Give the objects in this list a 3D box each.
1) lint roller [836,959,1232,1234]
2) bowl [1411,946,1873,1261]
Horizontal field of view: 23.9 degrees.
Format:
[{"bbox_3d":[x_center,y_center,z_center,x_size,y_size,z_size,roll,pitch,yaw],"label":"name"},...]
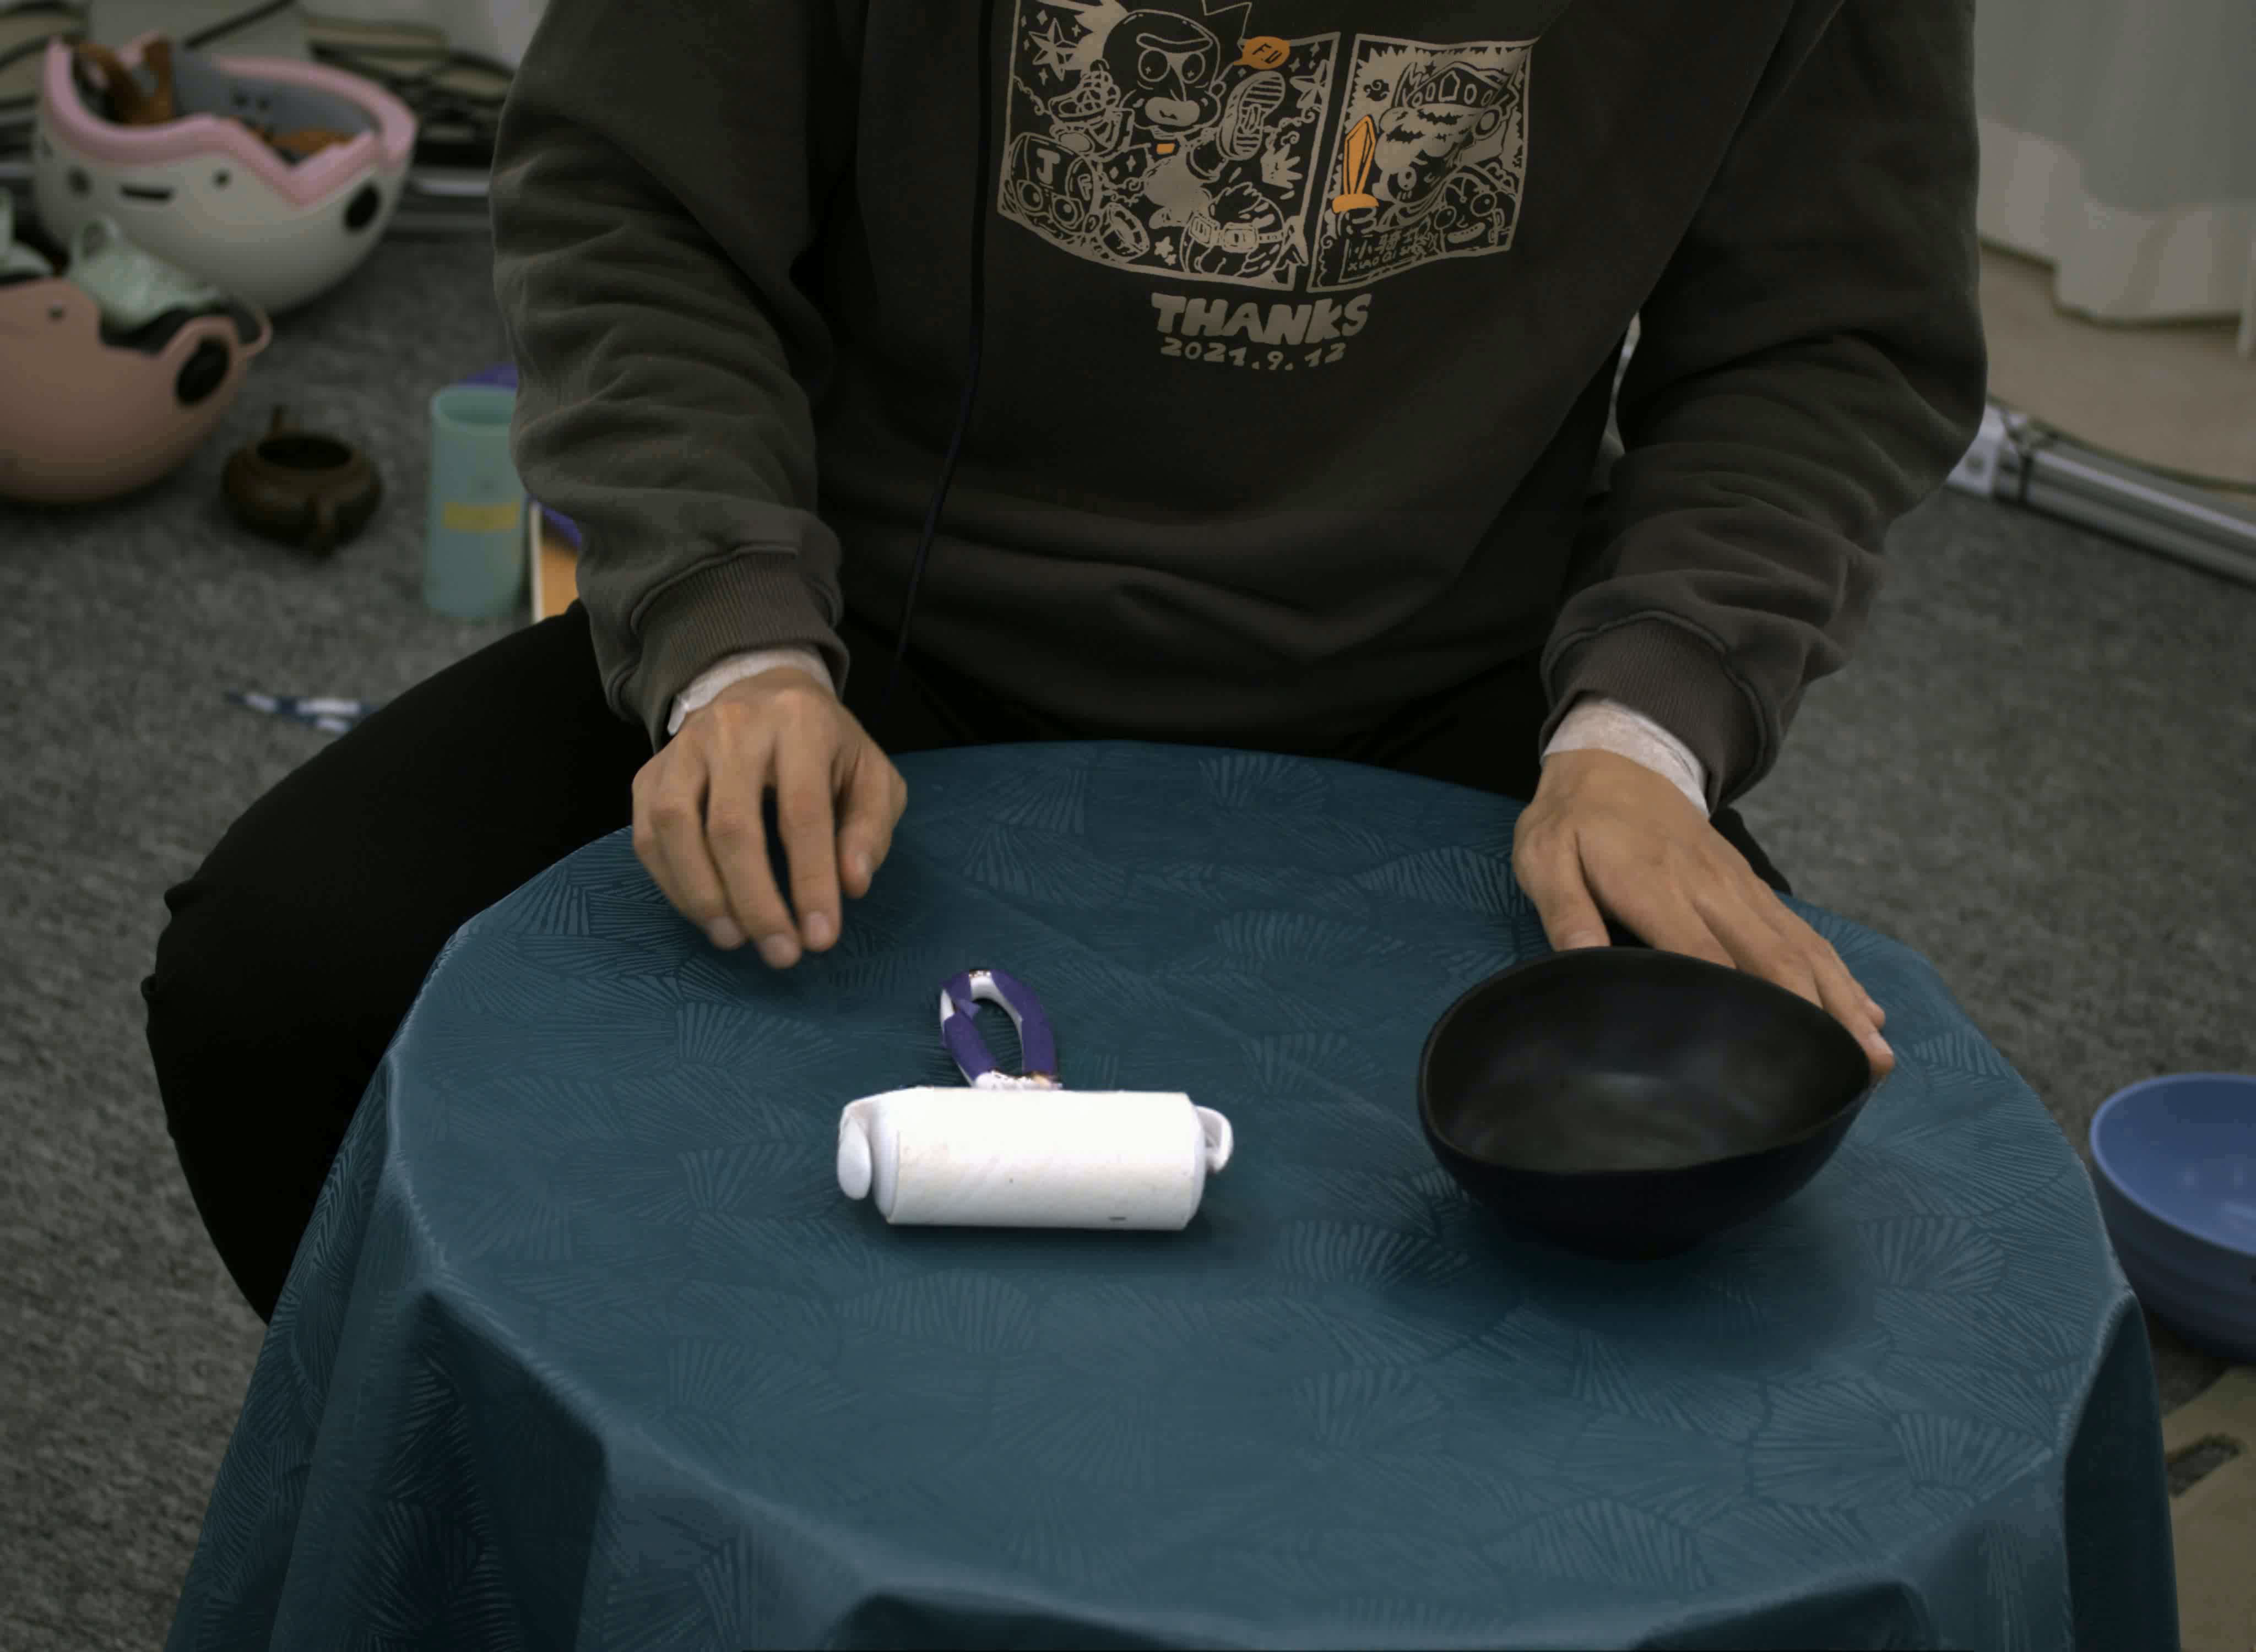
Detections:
[{"bbox_3d":[-0.037,0.080,1.829,0.132,0.050,0.182,2,30,-7],"label":"lint roller"},{"bbox_3d":[0.173,0.104,1.811,0.169,0.066,0.138,-17,33,-36],"label":"bowl"}]
